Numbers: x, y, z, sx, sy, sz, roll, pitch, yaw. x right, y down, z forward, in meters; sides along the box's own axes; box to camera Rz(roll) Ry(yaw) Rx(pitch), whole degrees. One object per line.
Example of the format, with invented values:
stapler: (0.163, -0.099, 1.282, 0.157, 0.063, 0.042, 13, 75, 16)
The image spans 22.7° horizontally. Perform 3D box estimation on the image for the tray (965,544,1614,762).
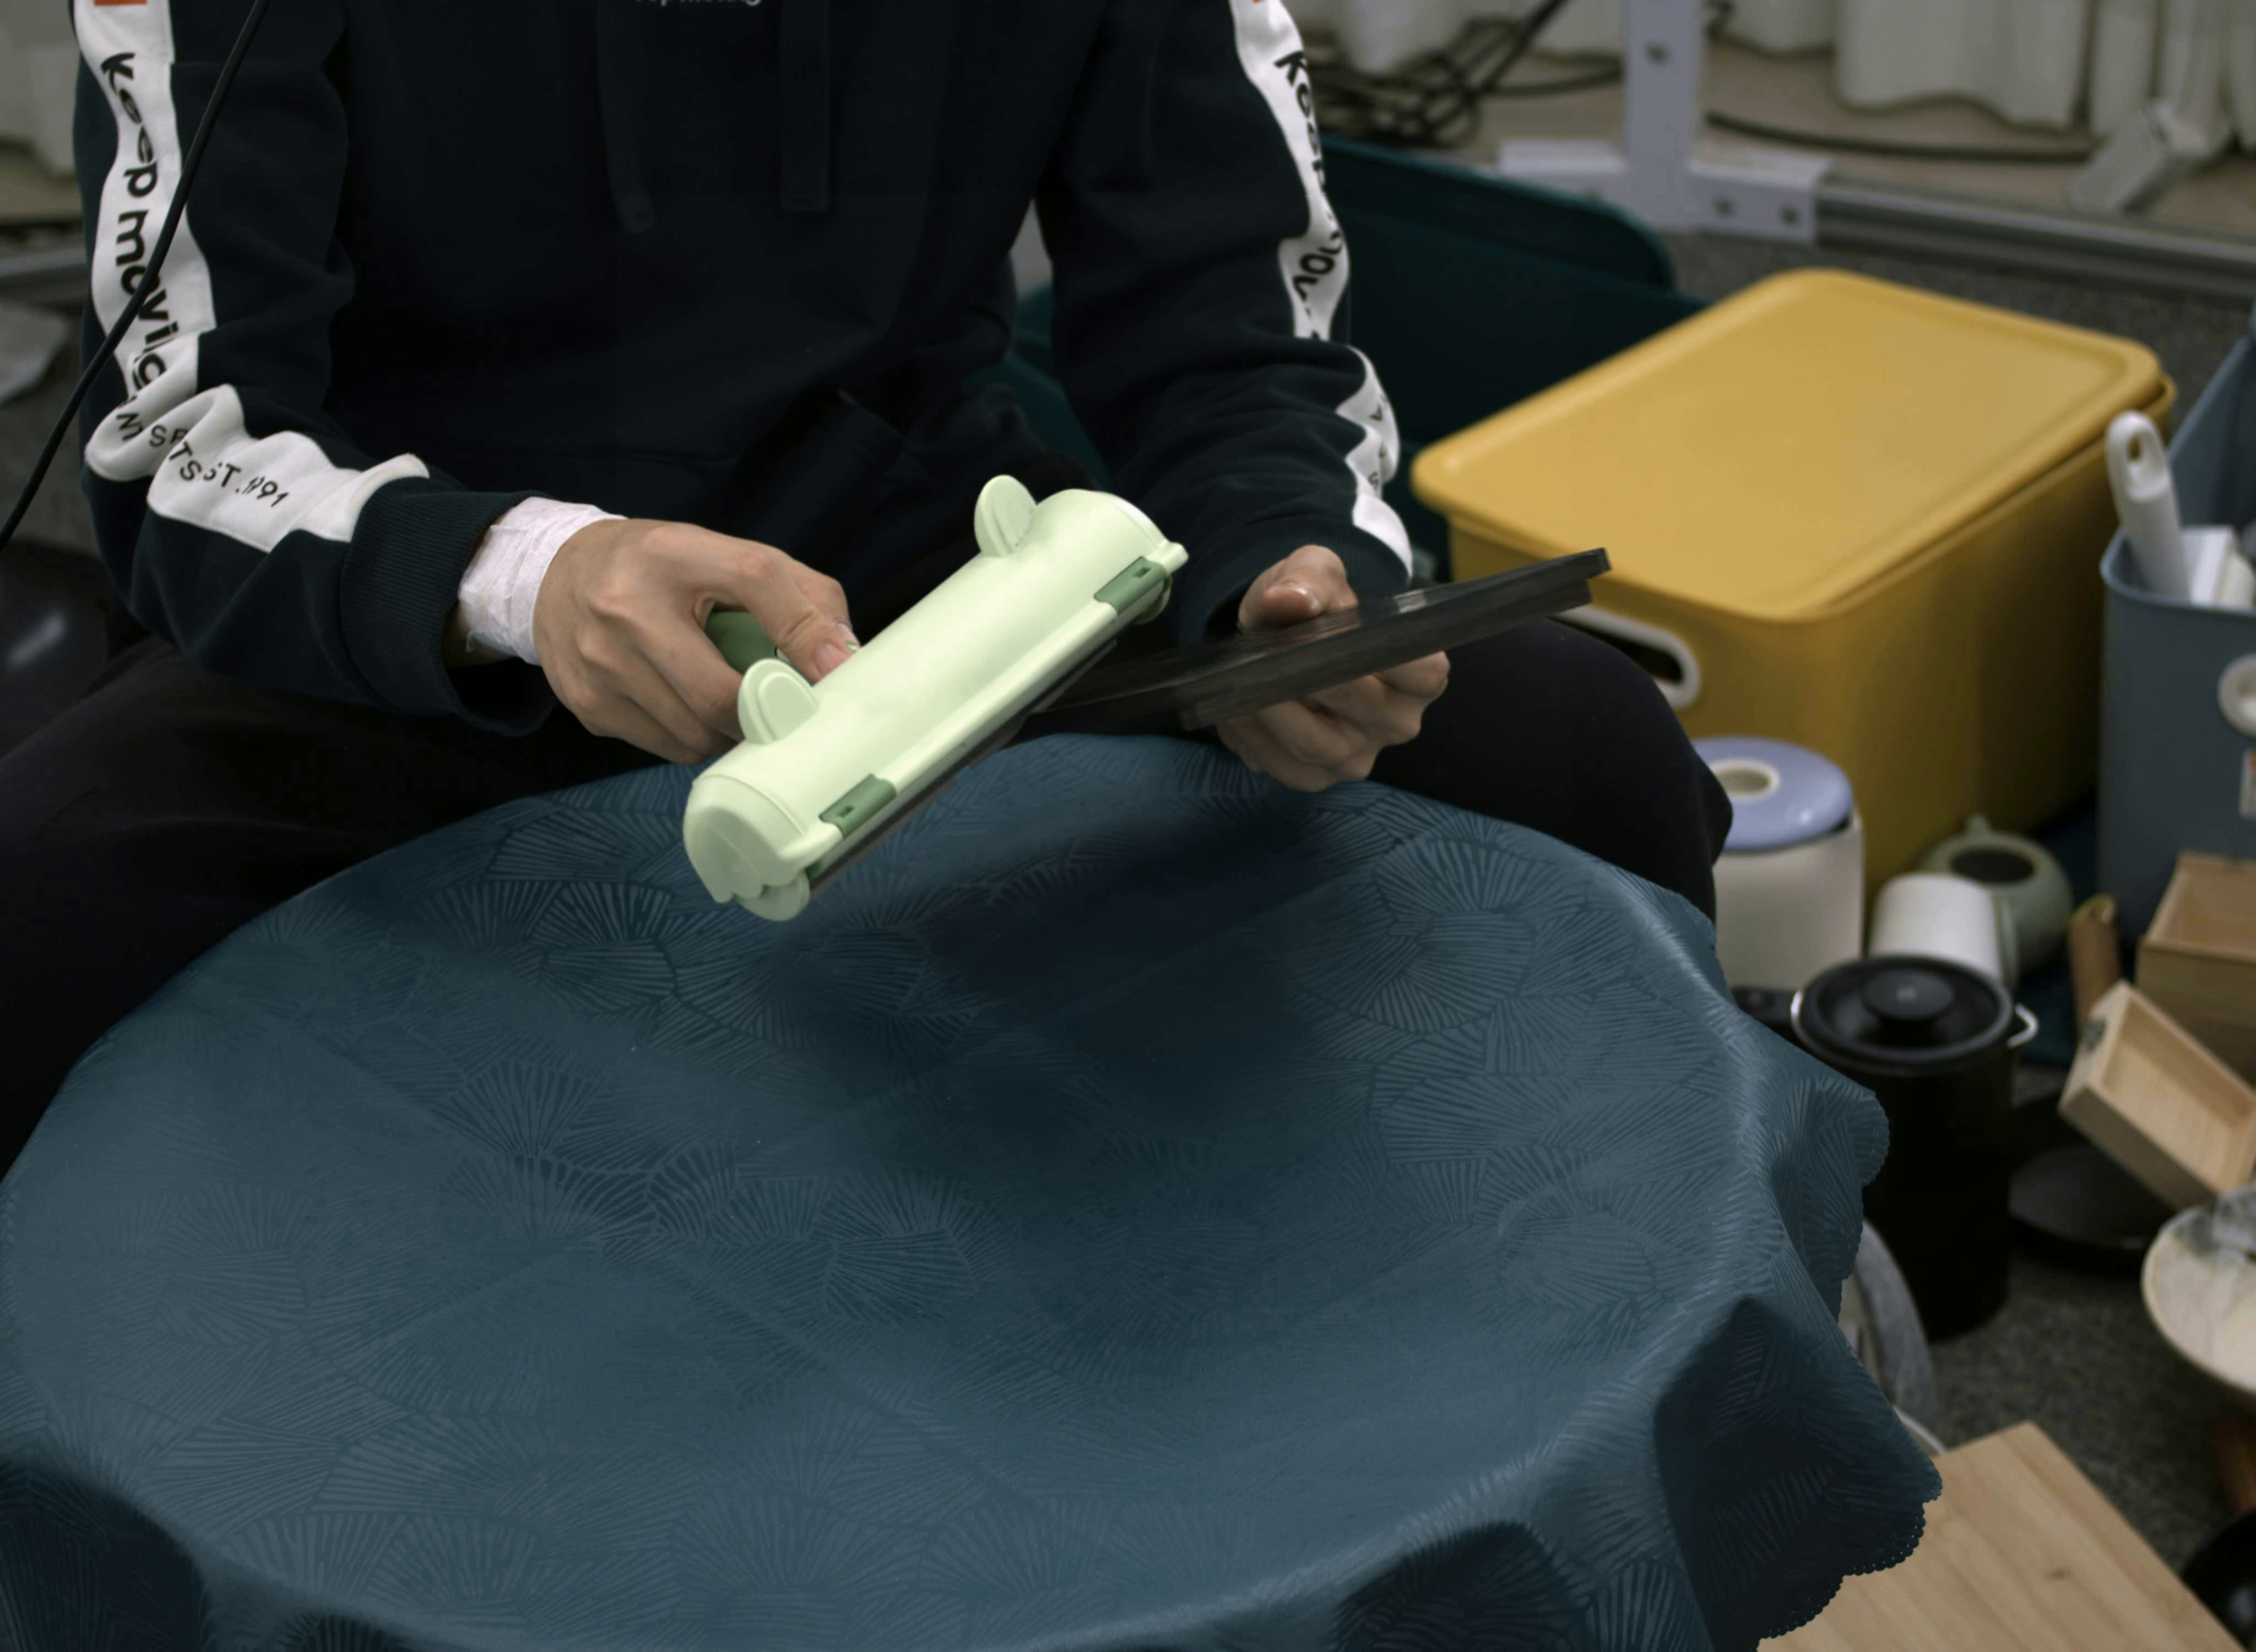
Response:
tray: (0.024, -0.050, 1.928, 0.171, 0.018, 0.303, -18, 3, -27)

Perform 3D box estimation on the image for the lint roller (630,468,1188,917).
lint roller: (-0.105, -0.063, 1.857, 0.183, 0.081, 0.201, 18, 45, 38)
